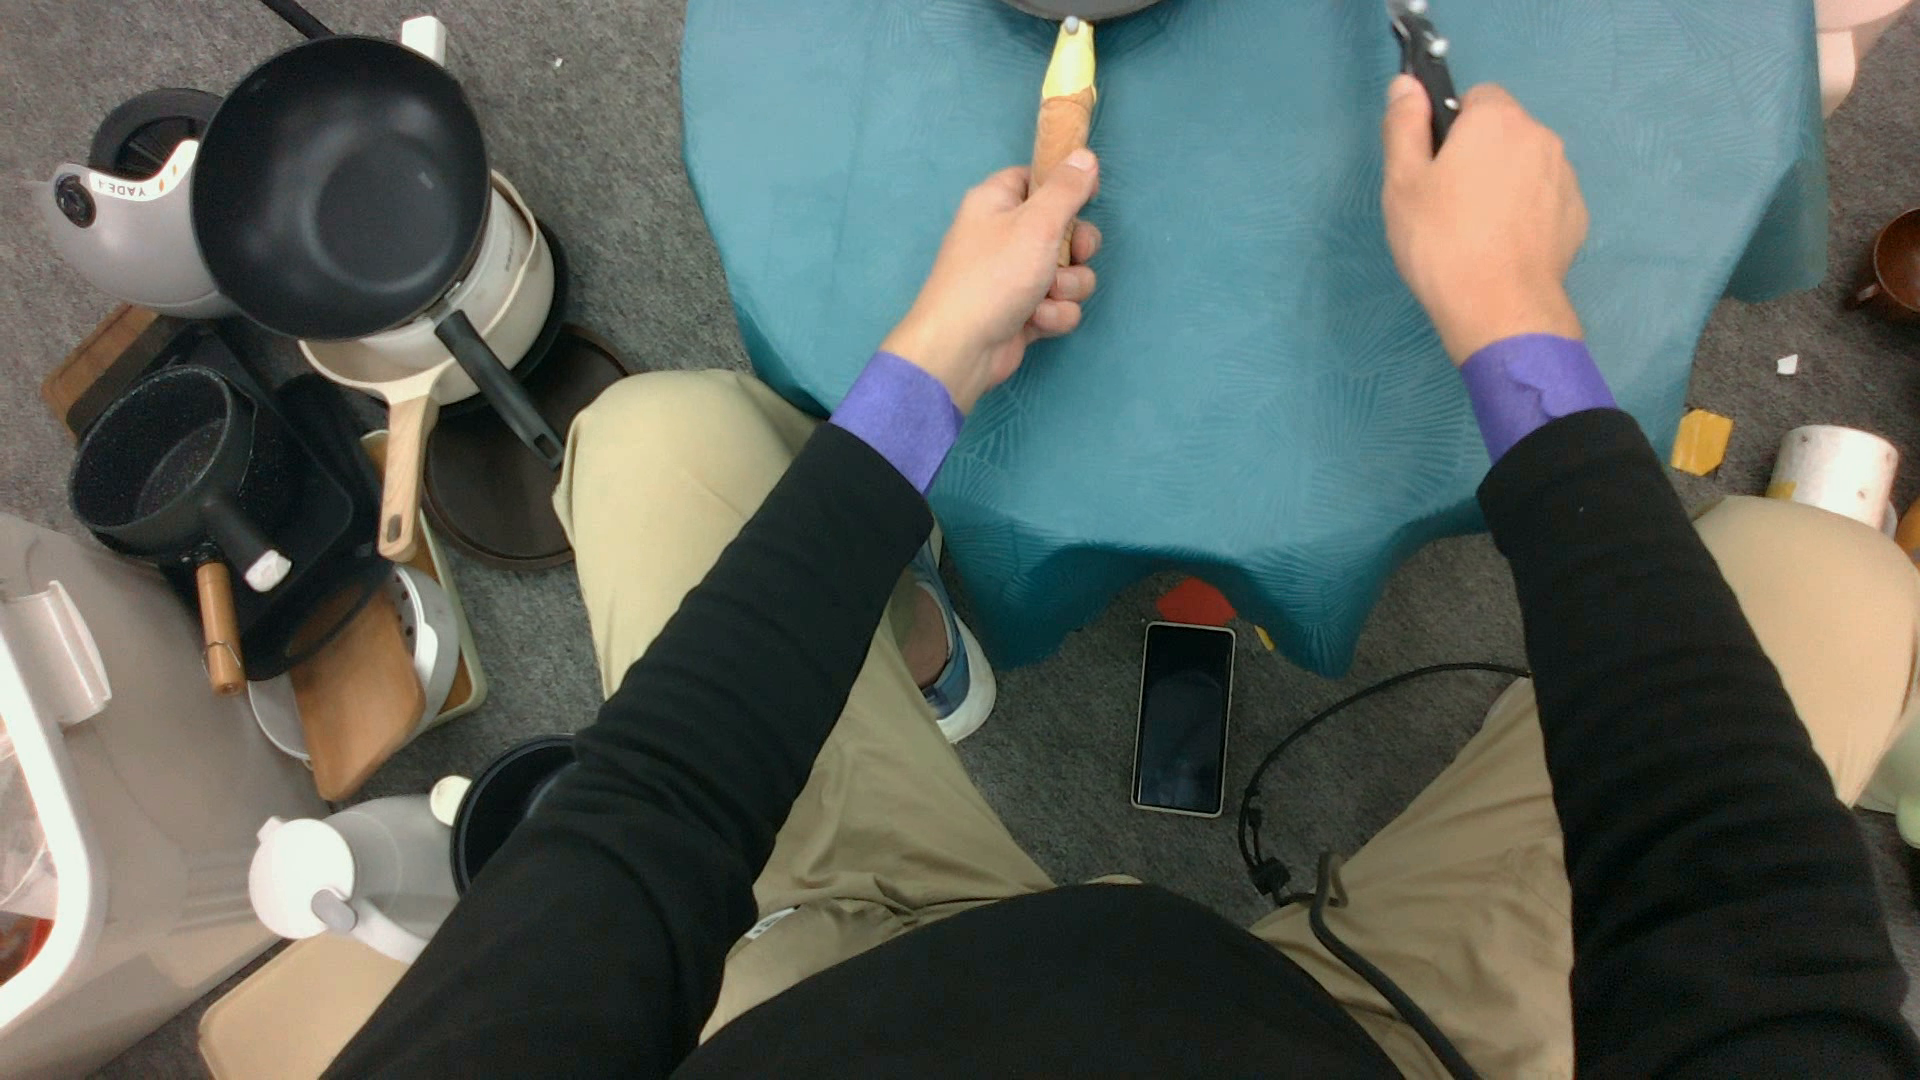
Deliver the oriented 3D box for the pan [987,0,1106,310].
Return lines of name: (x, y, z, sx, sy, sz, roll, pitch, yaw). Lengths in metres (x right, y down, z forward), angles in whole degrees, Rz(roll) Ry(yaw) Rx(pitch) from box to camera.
pan: (0.046, -0.275, 0.732, 0.169, 0.049, 0.324, 7, 81, 10)

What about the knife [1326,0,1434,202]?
knife: (0.188, -0.270, 0.679, 0.024, 0.016, 0.238, -5, 70, -25)
